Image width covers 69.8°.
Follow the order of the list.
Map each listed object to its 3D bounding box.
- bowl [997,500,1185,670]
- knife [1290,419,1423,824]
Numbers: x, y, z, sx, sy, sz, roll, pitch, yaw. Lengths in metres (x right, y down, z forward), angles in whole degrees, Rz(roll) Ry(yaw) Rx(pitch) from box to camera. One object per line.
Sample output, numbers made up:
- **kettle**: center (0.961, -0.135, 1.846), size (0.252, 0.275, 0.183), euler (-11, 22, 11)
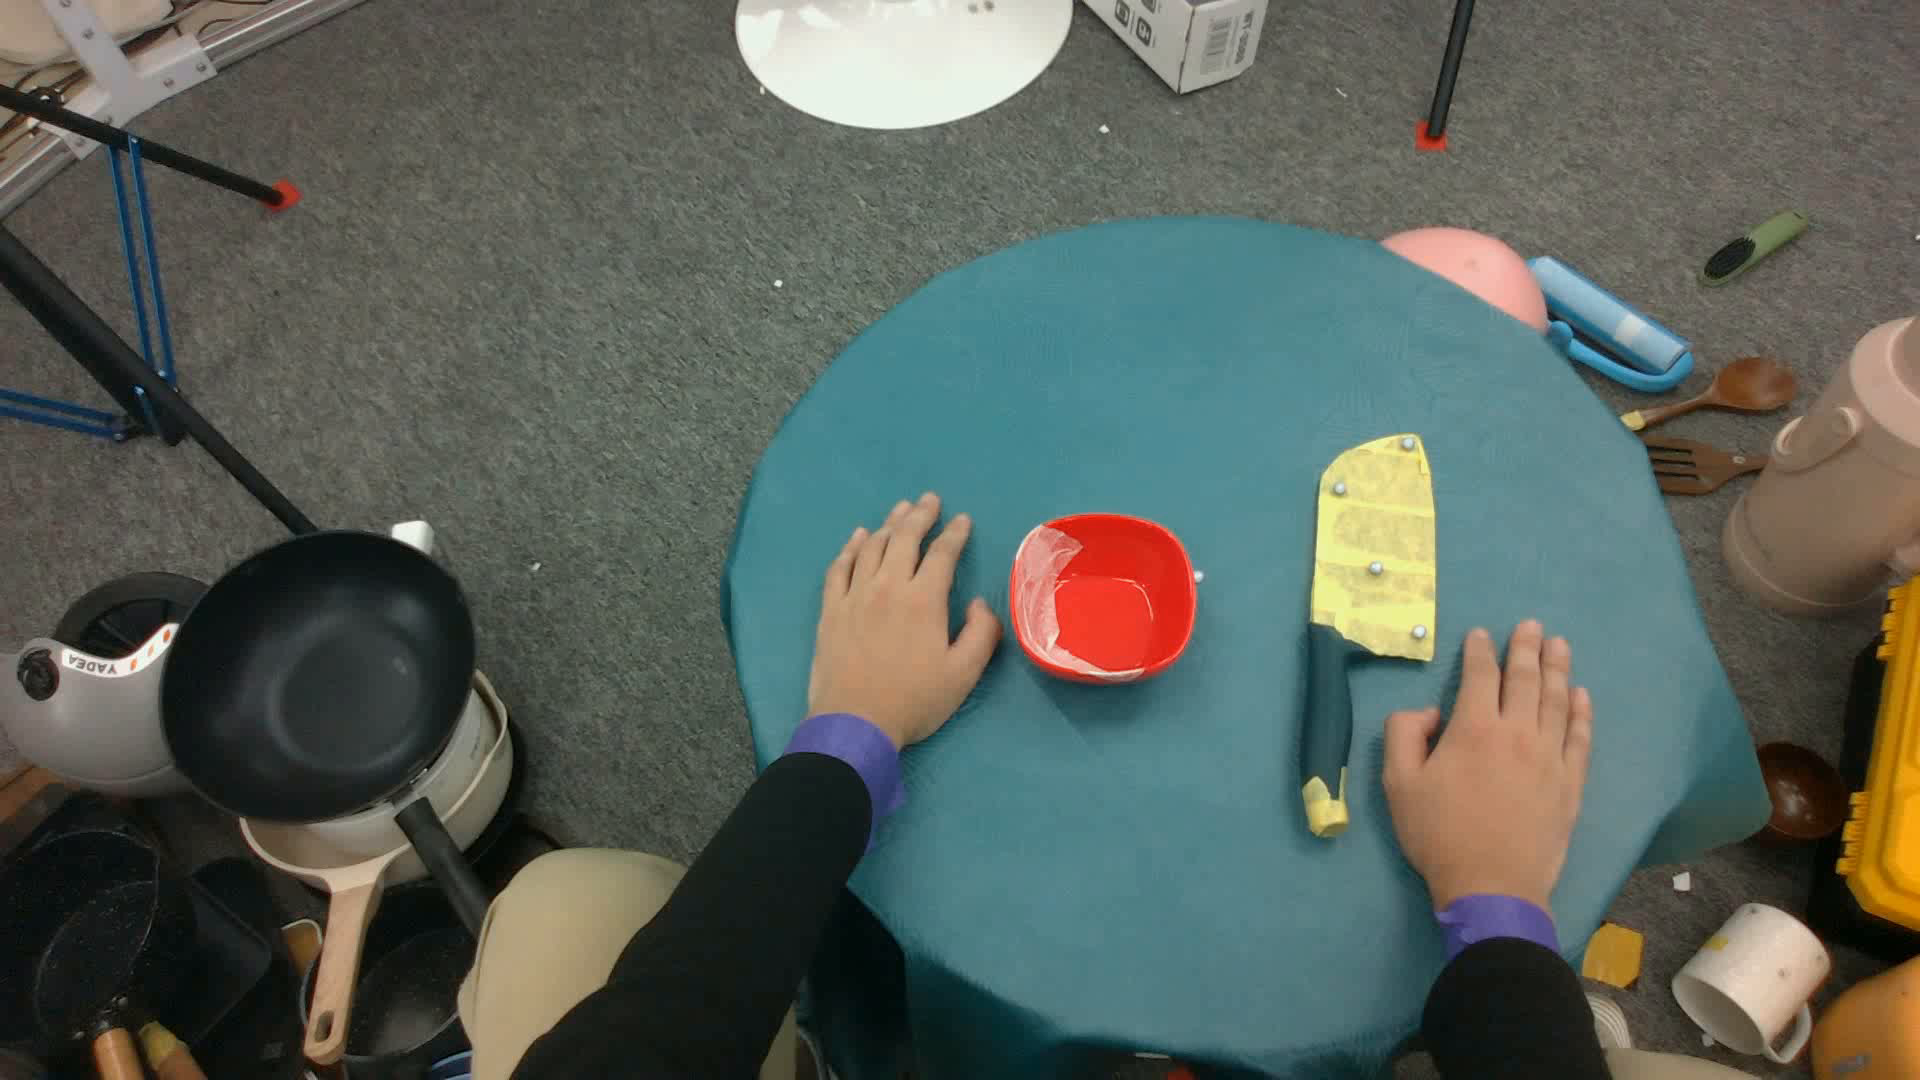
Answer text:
- **bowl**: center (0.077, 0.035, 0.829), size (0.119, 0.051, 0.119), euler (0, 58, 1)
- **knife**: center (0.241, 0.039, 0.841), size (0.081, 0.027, 0.291), euler (10, 59, 10)
